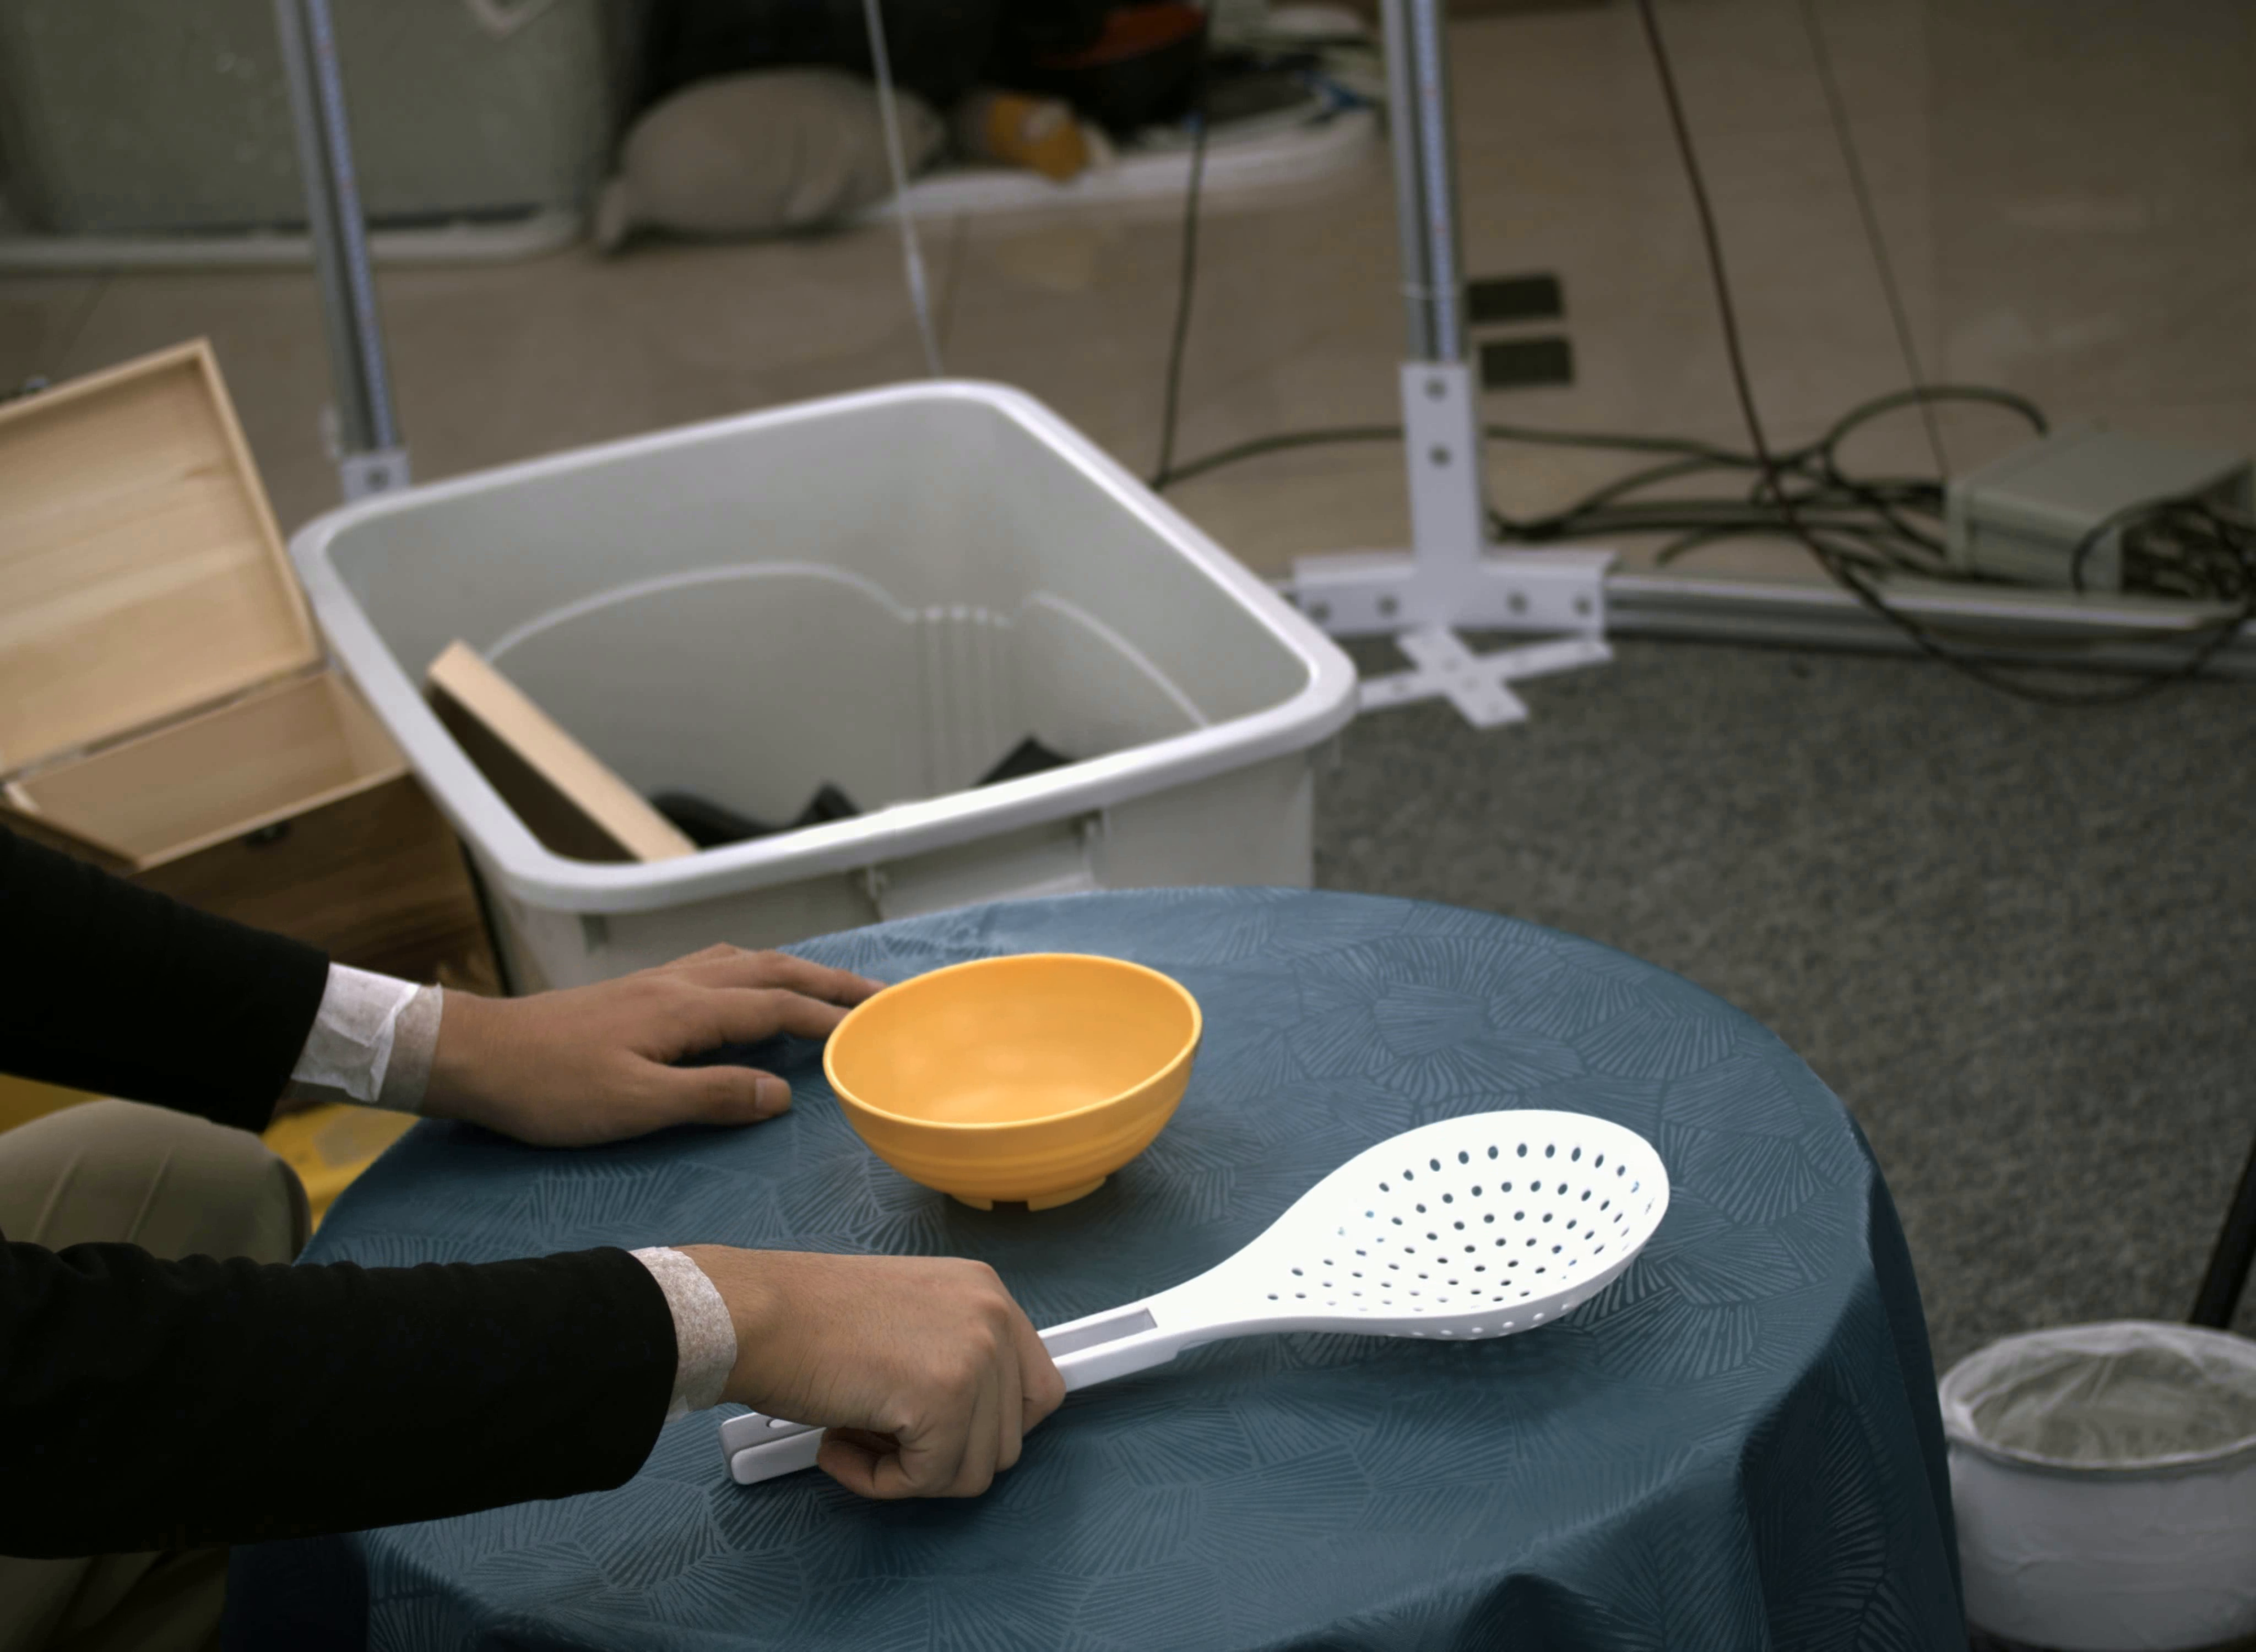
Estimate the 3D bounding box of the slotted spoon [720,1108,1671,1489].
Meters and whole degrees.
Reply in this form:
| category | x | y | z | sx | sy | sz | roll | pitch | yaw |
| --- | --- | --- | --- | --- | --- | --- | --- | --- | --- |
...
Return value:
| category | x | y | z | sx | sy | sz | roll | pitch | yaw |
| --- | --- | --- | --- | --- | --- | --- | --- | --- | --- |
| slotted spoon | 0.025 | 0.174 | 2.012 | 0.349 | 0.046 | 0.134 | -12 | 27 | -10 |

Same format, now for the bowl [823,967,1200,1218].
| category | x | y | z | sx | sy | sz | roll | pitch | yaw |
| --- | --- | --- | --- | --- | --- | --- | --- | --- | --- |
| bowl | -0.042 | 0.108 | 2.157 | 0.145 | 0.061 | 0.143 | -5 | 23 | 2 |
